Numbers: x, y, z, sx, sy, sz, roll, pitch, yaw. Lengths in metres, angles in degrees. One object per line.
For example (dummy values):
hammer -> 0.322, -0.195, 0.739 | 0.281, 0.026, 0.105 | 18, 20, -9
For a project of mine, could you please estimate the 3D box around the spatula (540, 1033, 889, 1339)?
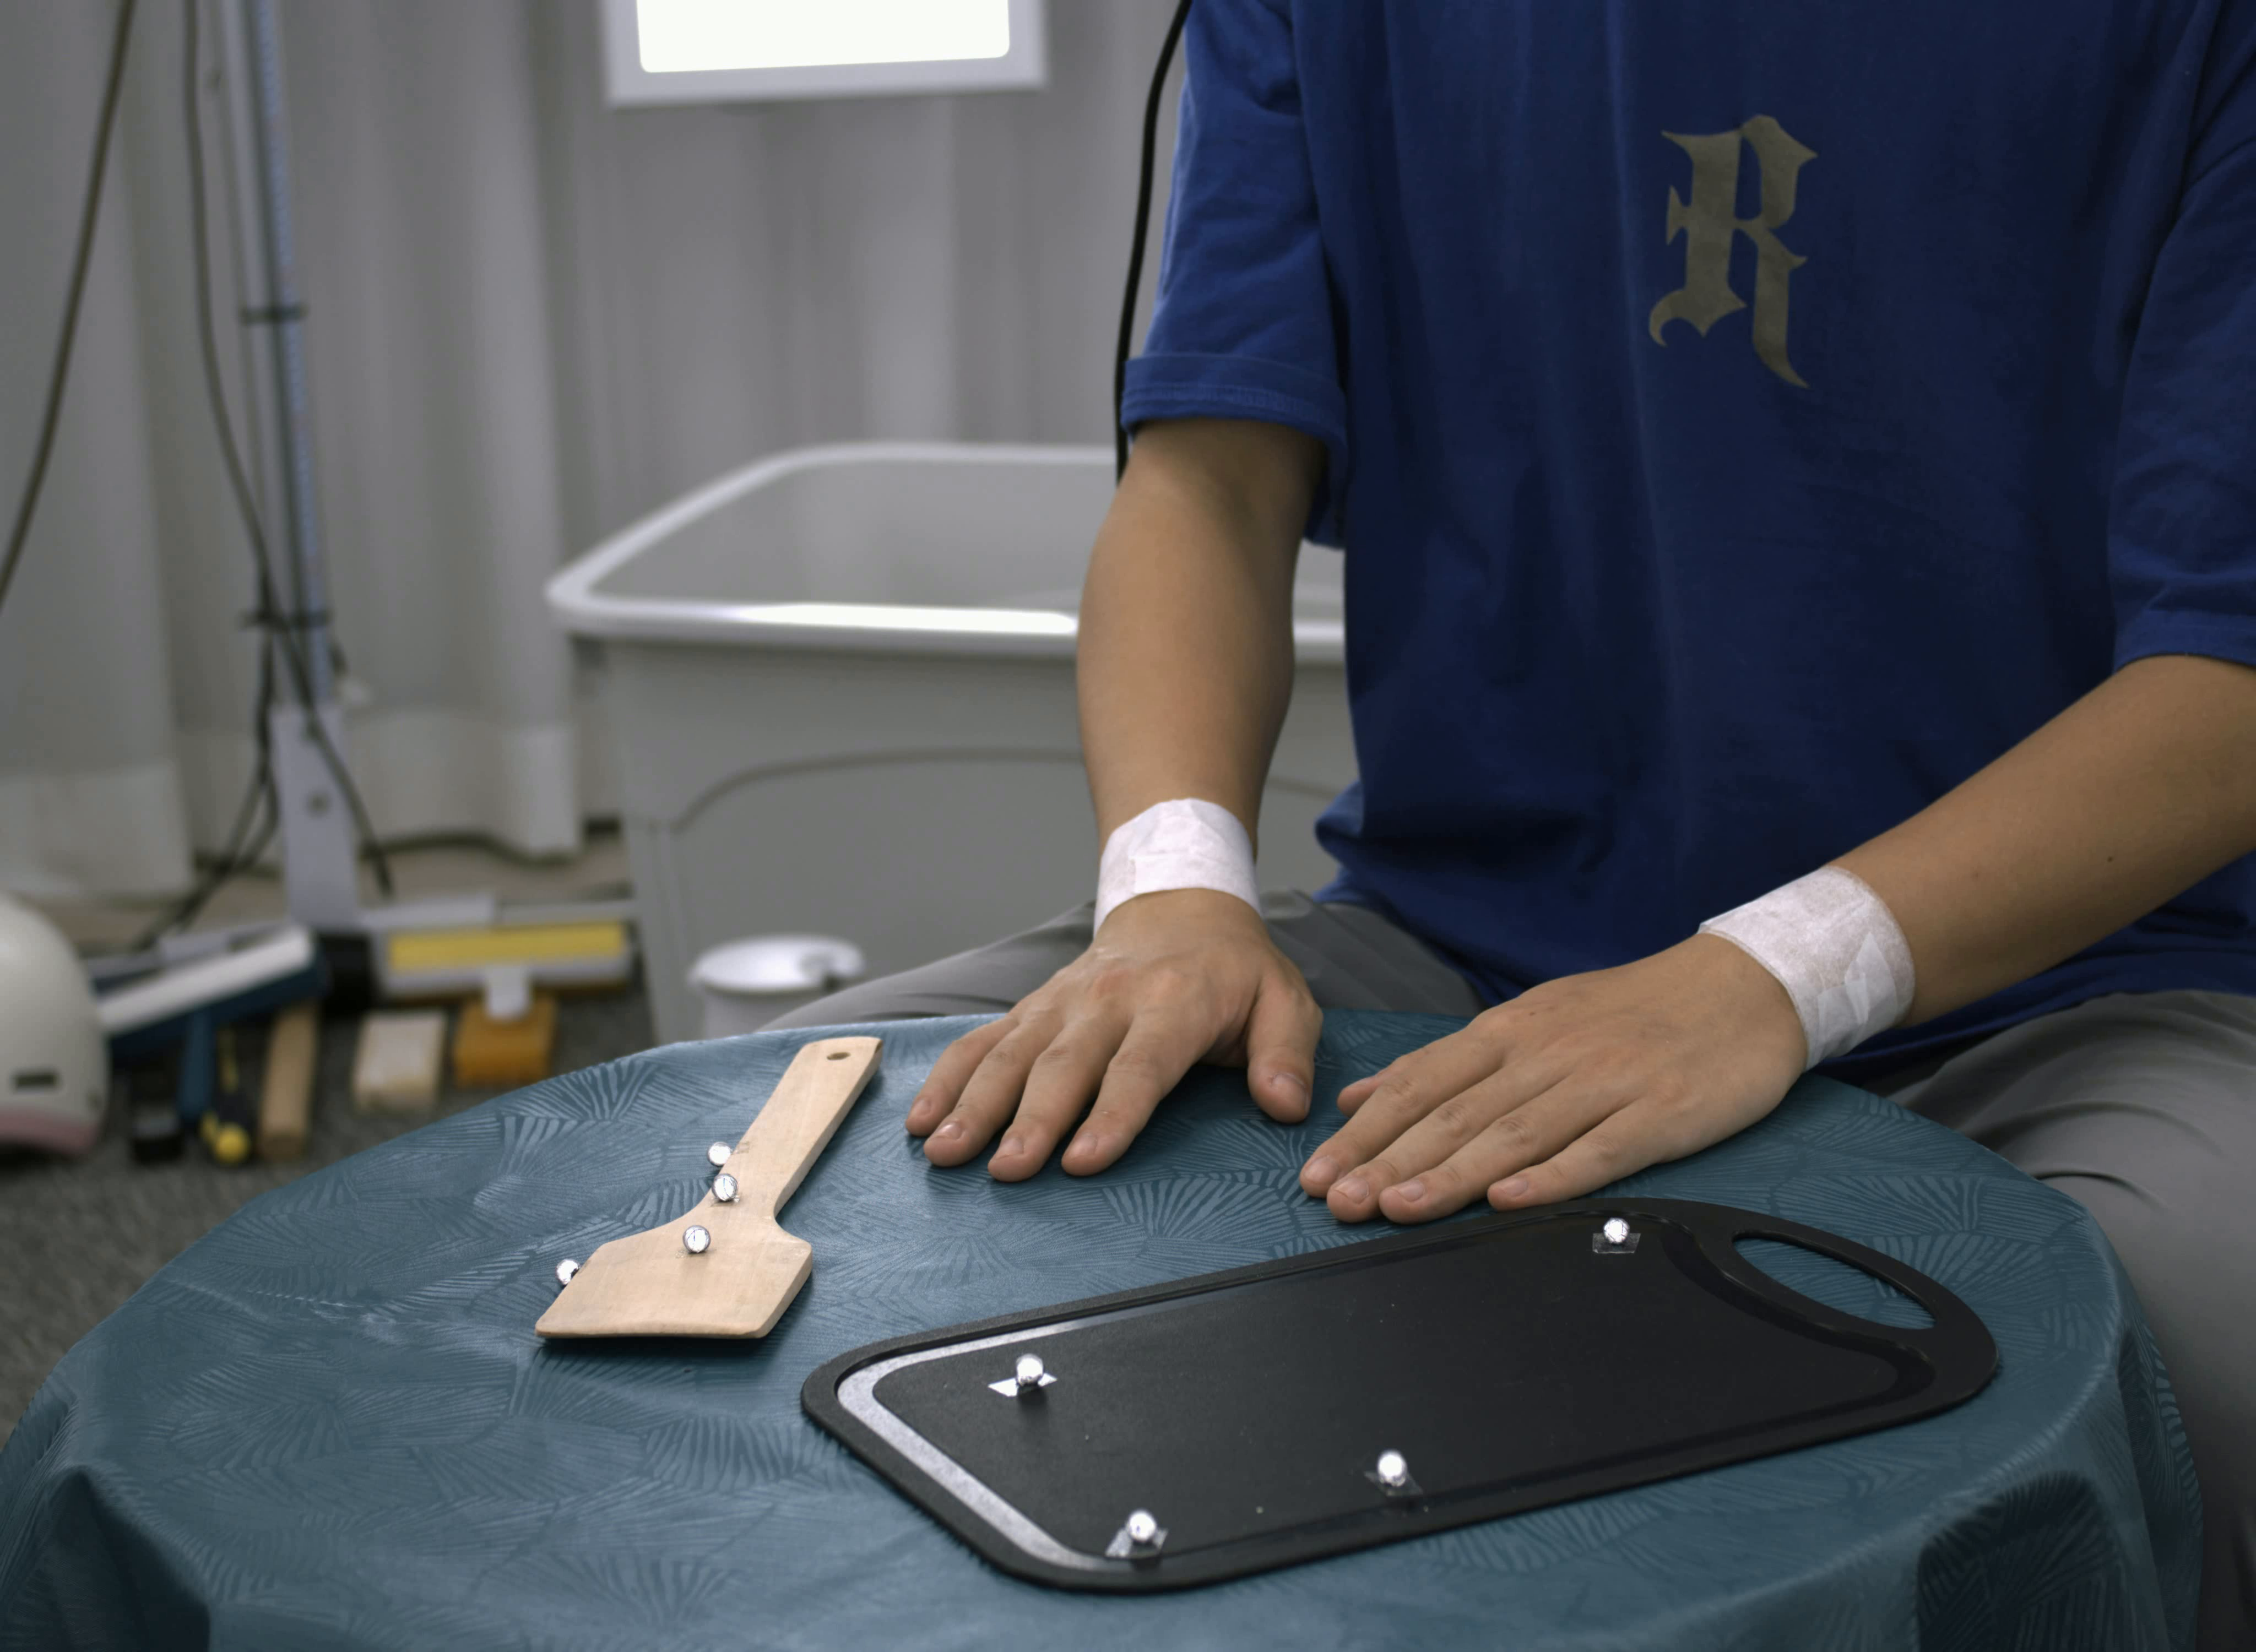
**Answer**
spatula -> -0.117, 0.112, 1.726 | 0.072, 0.010, 0.294 | -2, 15, 10

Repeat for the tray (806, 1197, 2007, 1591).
tray -> 0.083, 0.152, 1.539 | 0.324, 0.010, 0.213 | -9, 16, -23
